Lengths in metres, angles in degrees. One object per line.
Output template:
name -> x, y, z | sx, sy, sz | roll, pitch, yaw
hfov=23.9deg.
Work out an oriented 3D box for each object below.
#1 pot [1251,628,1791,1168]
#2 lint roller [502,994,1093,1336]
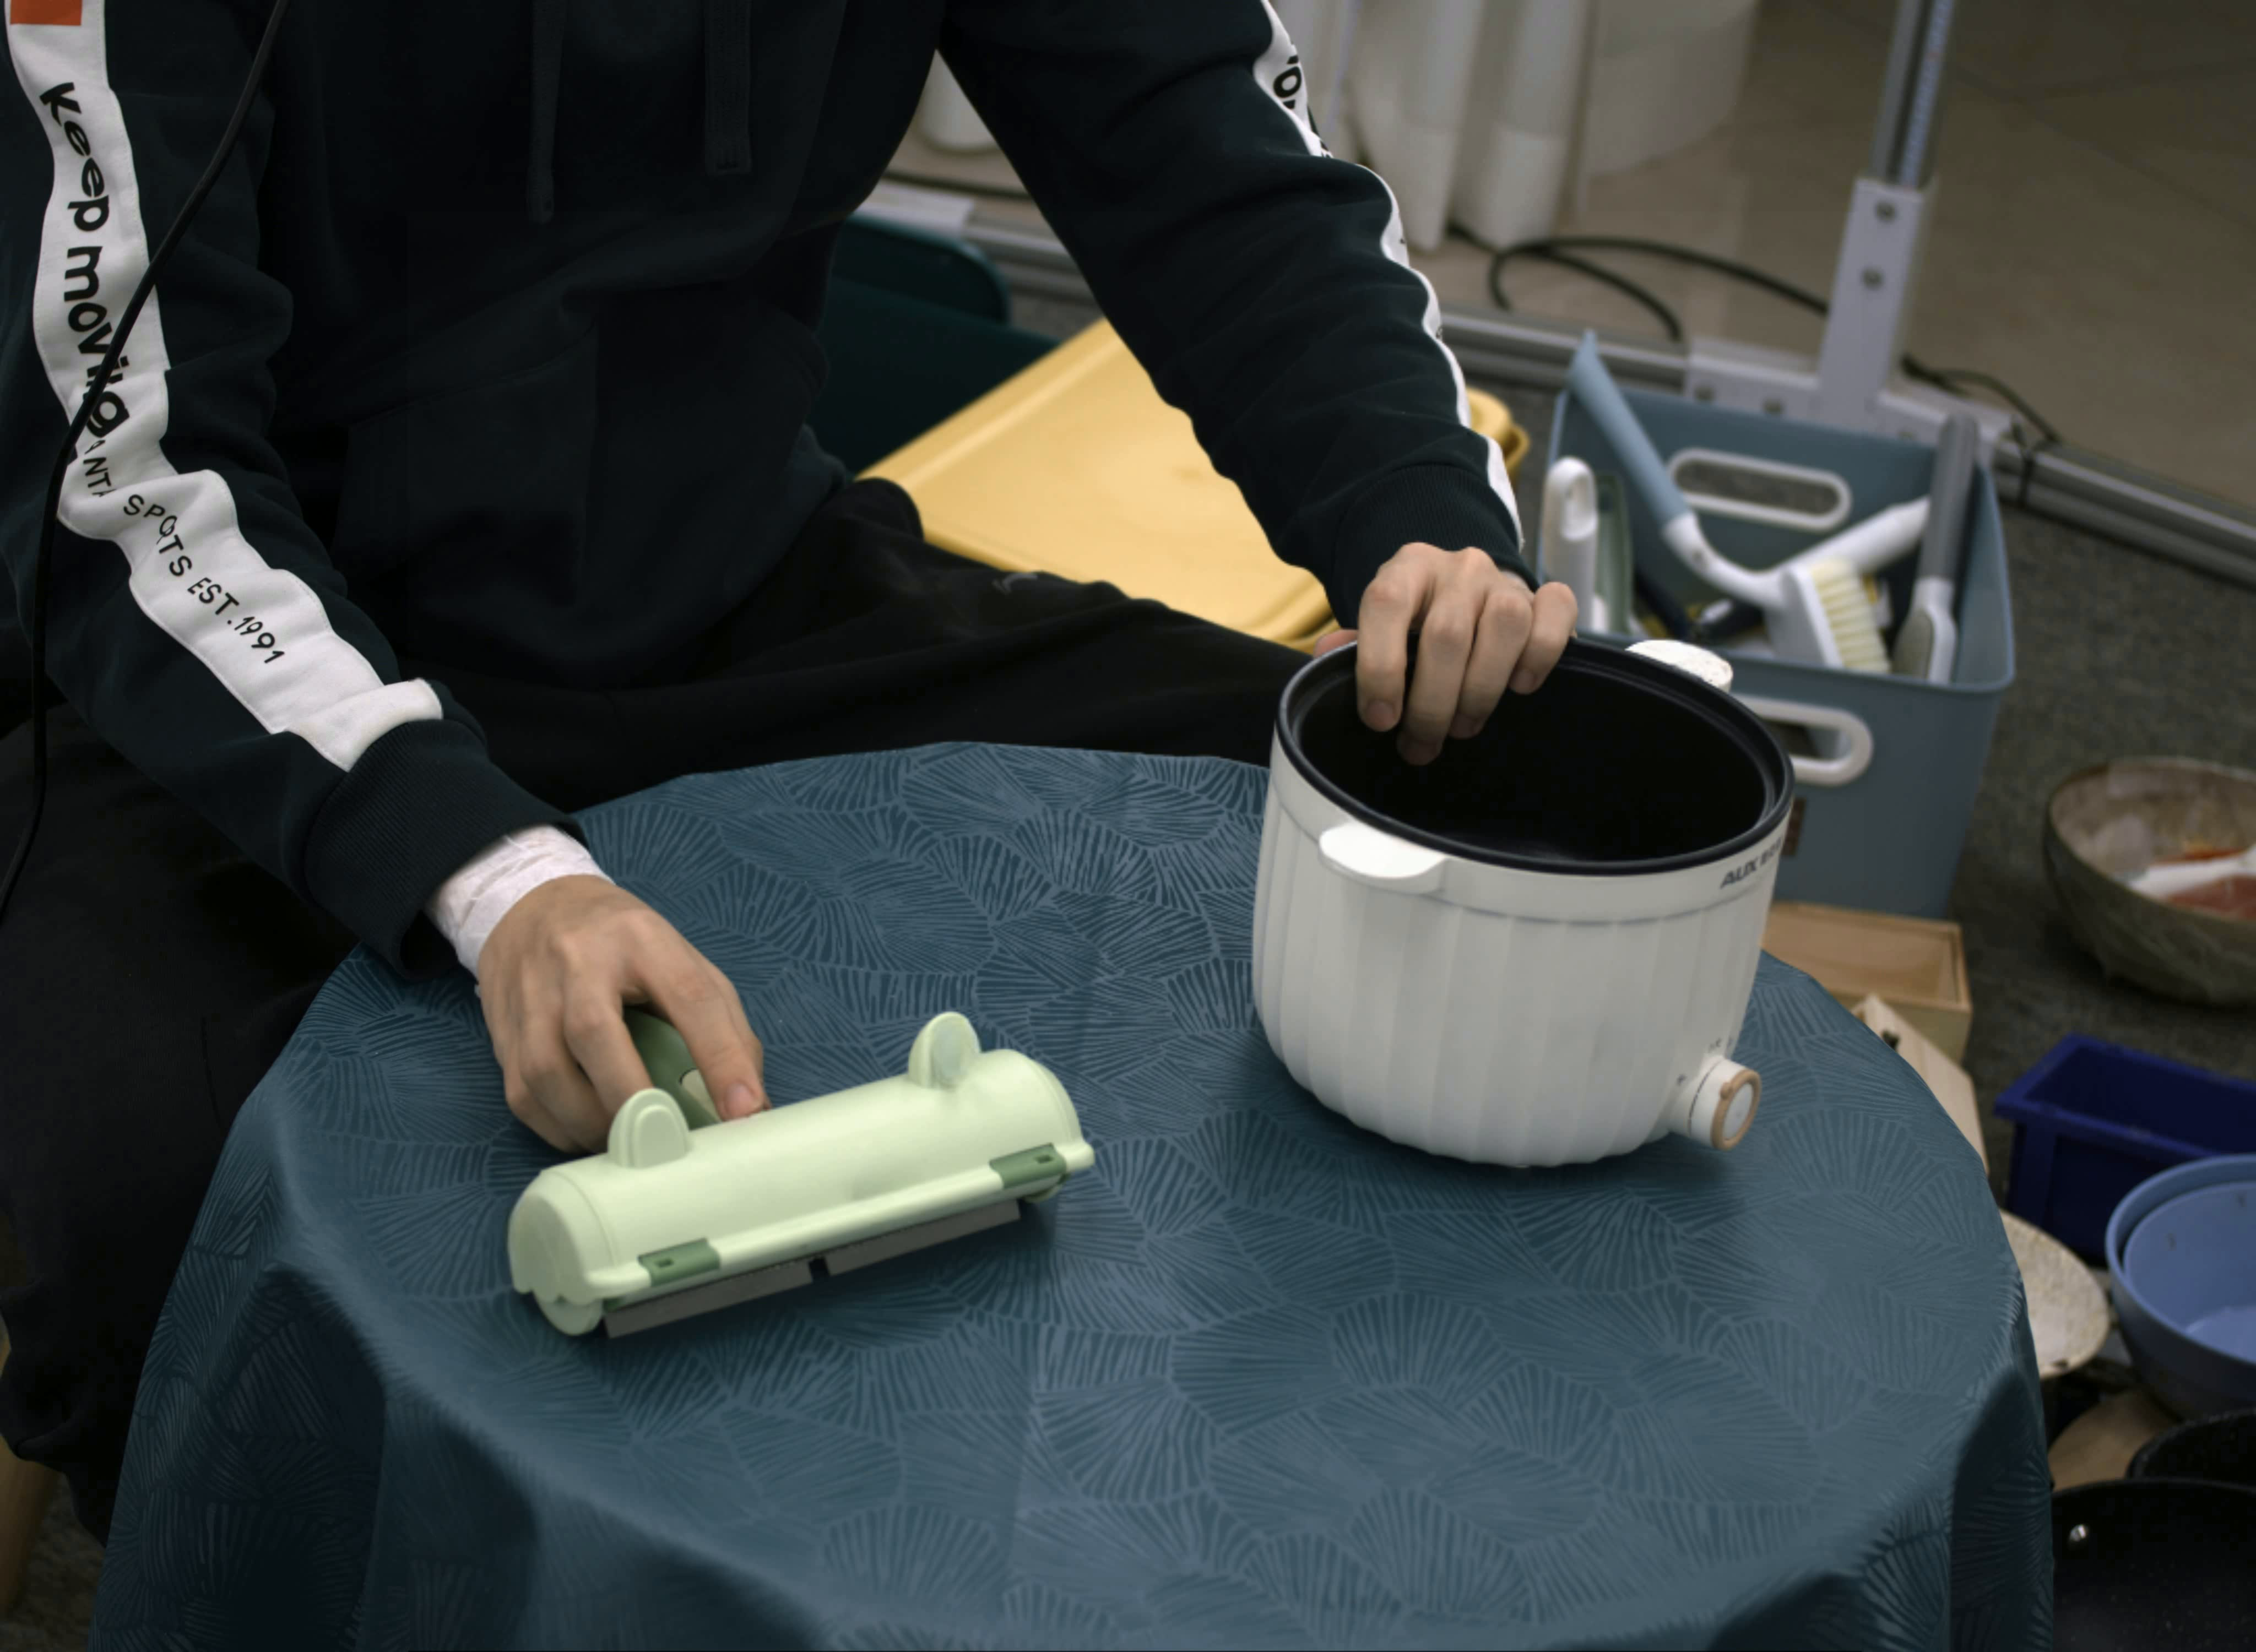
pot -> 0.138, 0.031, 1.860 | 0.191, 0.142, 0.240 | 19, 30, 30
lint roller -> -0.138, 0.084, 1.762 | 0.197, 0.082, 0.185 | -13, 38, -33
